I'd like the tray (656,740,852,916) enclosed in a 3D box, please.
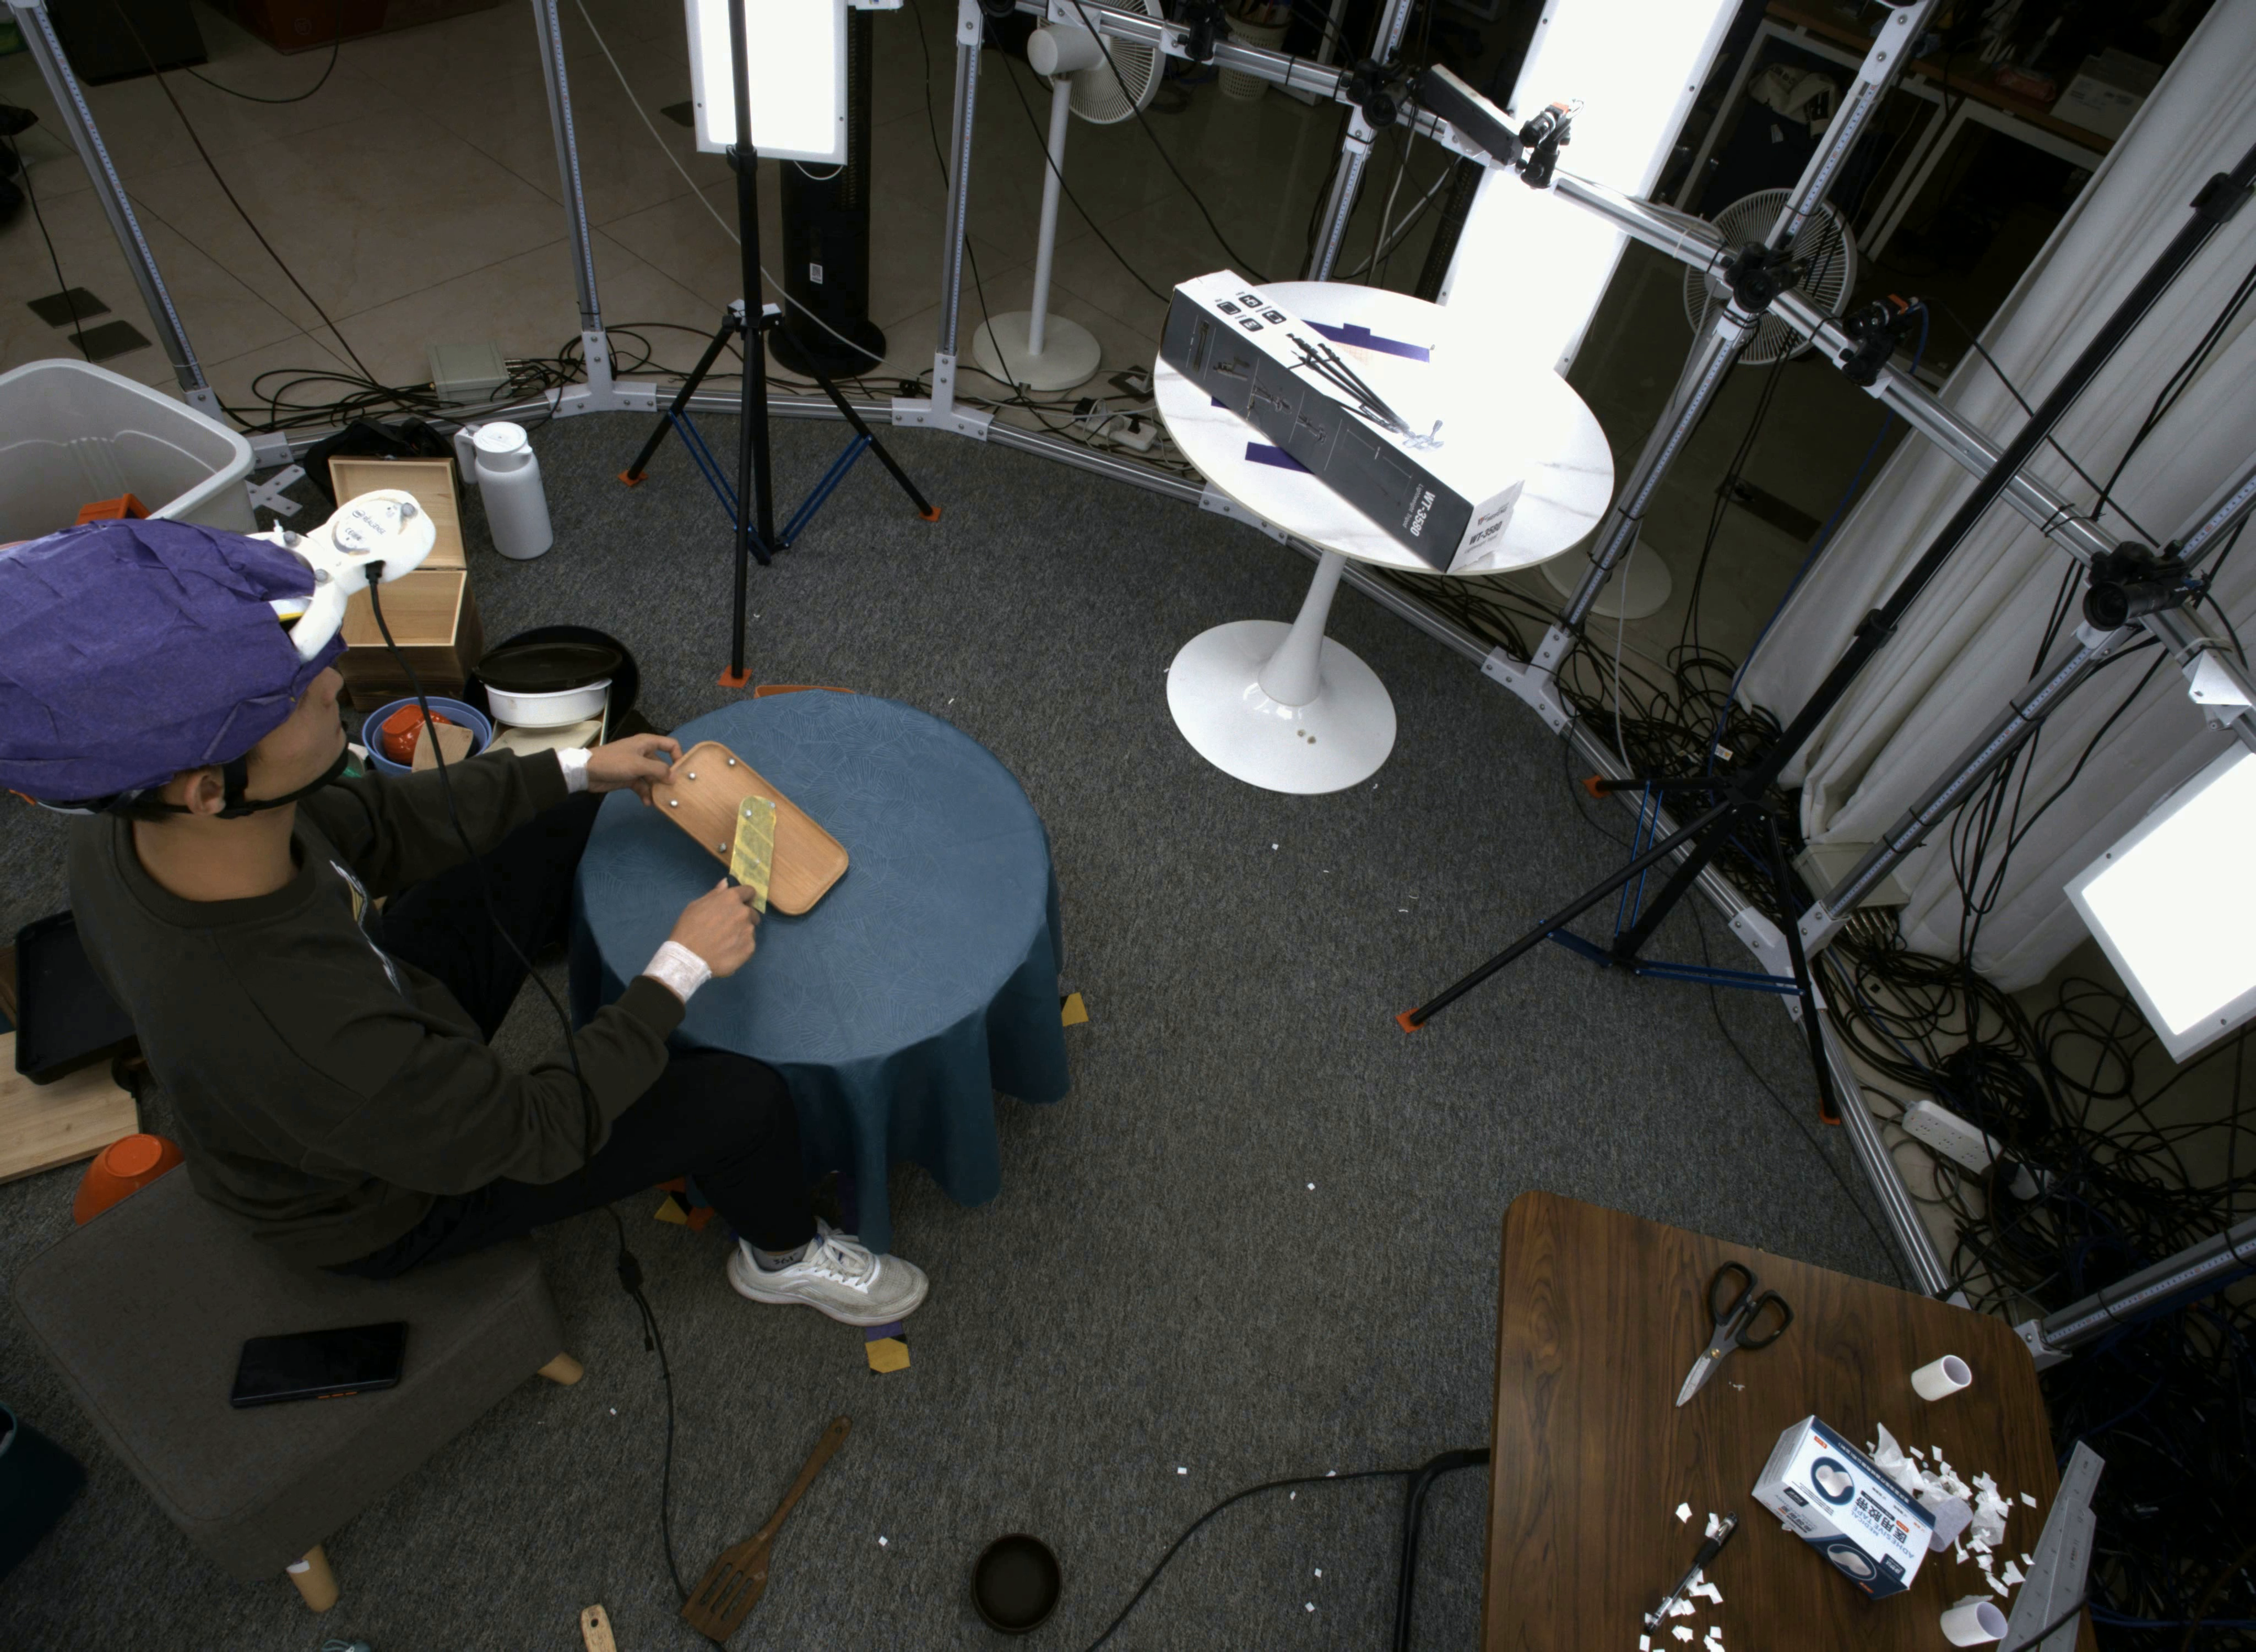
[{"bbox_3d":[-0.479,0.001,1.661,0.253,0.023,0.130,42,55,-8],"label":"tray"}]

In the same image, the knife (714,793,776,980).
[{"bbox_3d":[-0.464,0.069,1.579,0.027,0.084,0.283,-17,48,18],"label":"knife"}]
